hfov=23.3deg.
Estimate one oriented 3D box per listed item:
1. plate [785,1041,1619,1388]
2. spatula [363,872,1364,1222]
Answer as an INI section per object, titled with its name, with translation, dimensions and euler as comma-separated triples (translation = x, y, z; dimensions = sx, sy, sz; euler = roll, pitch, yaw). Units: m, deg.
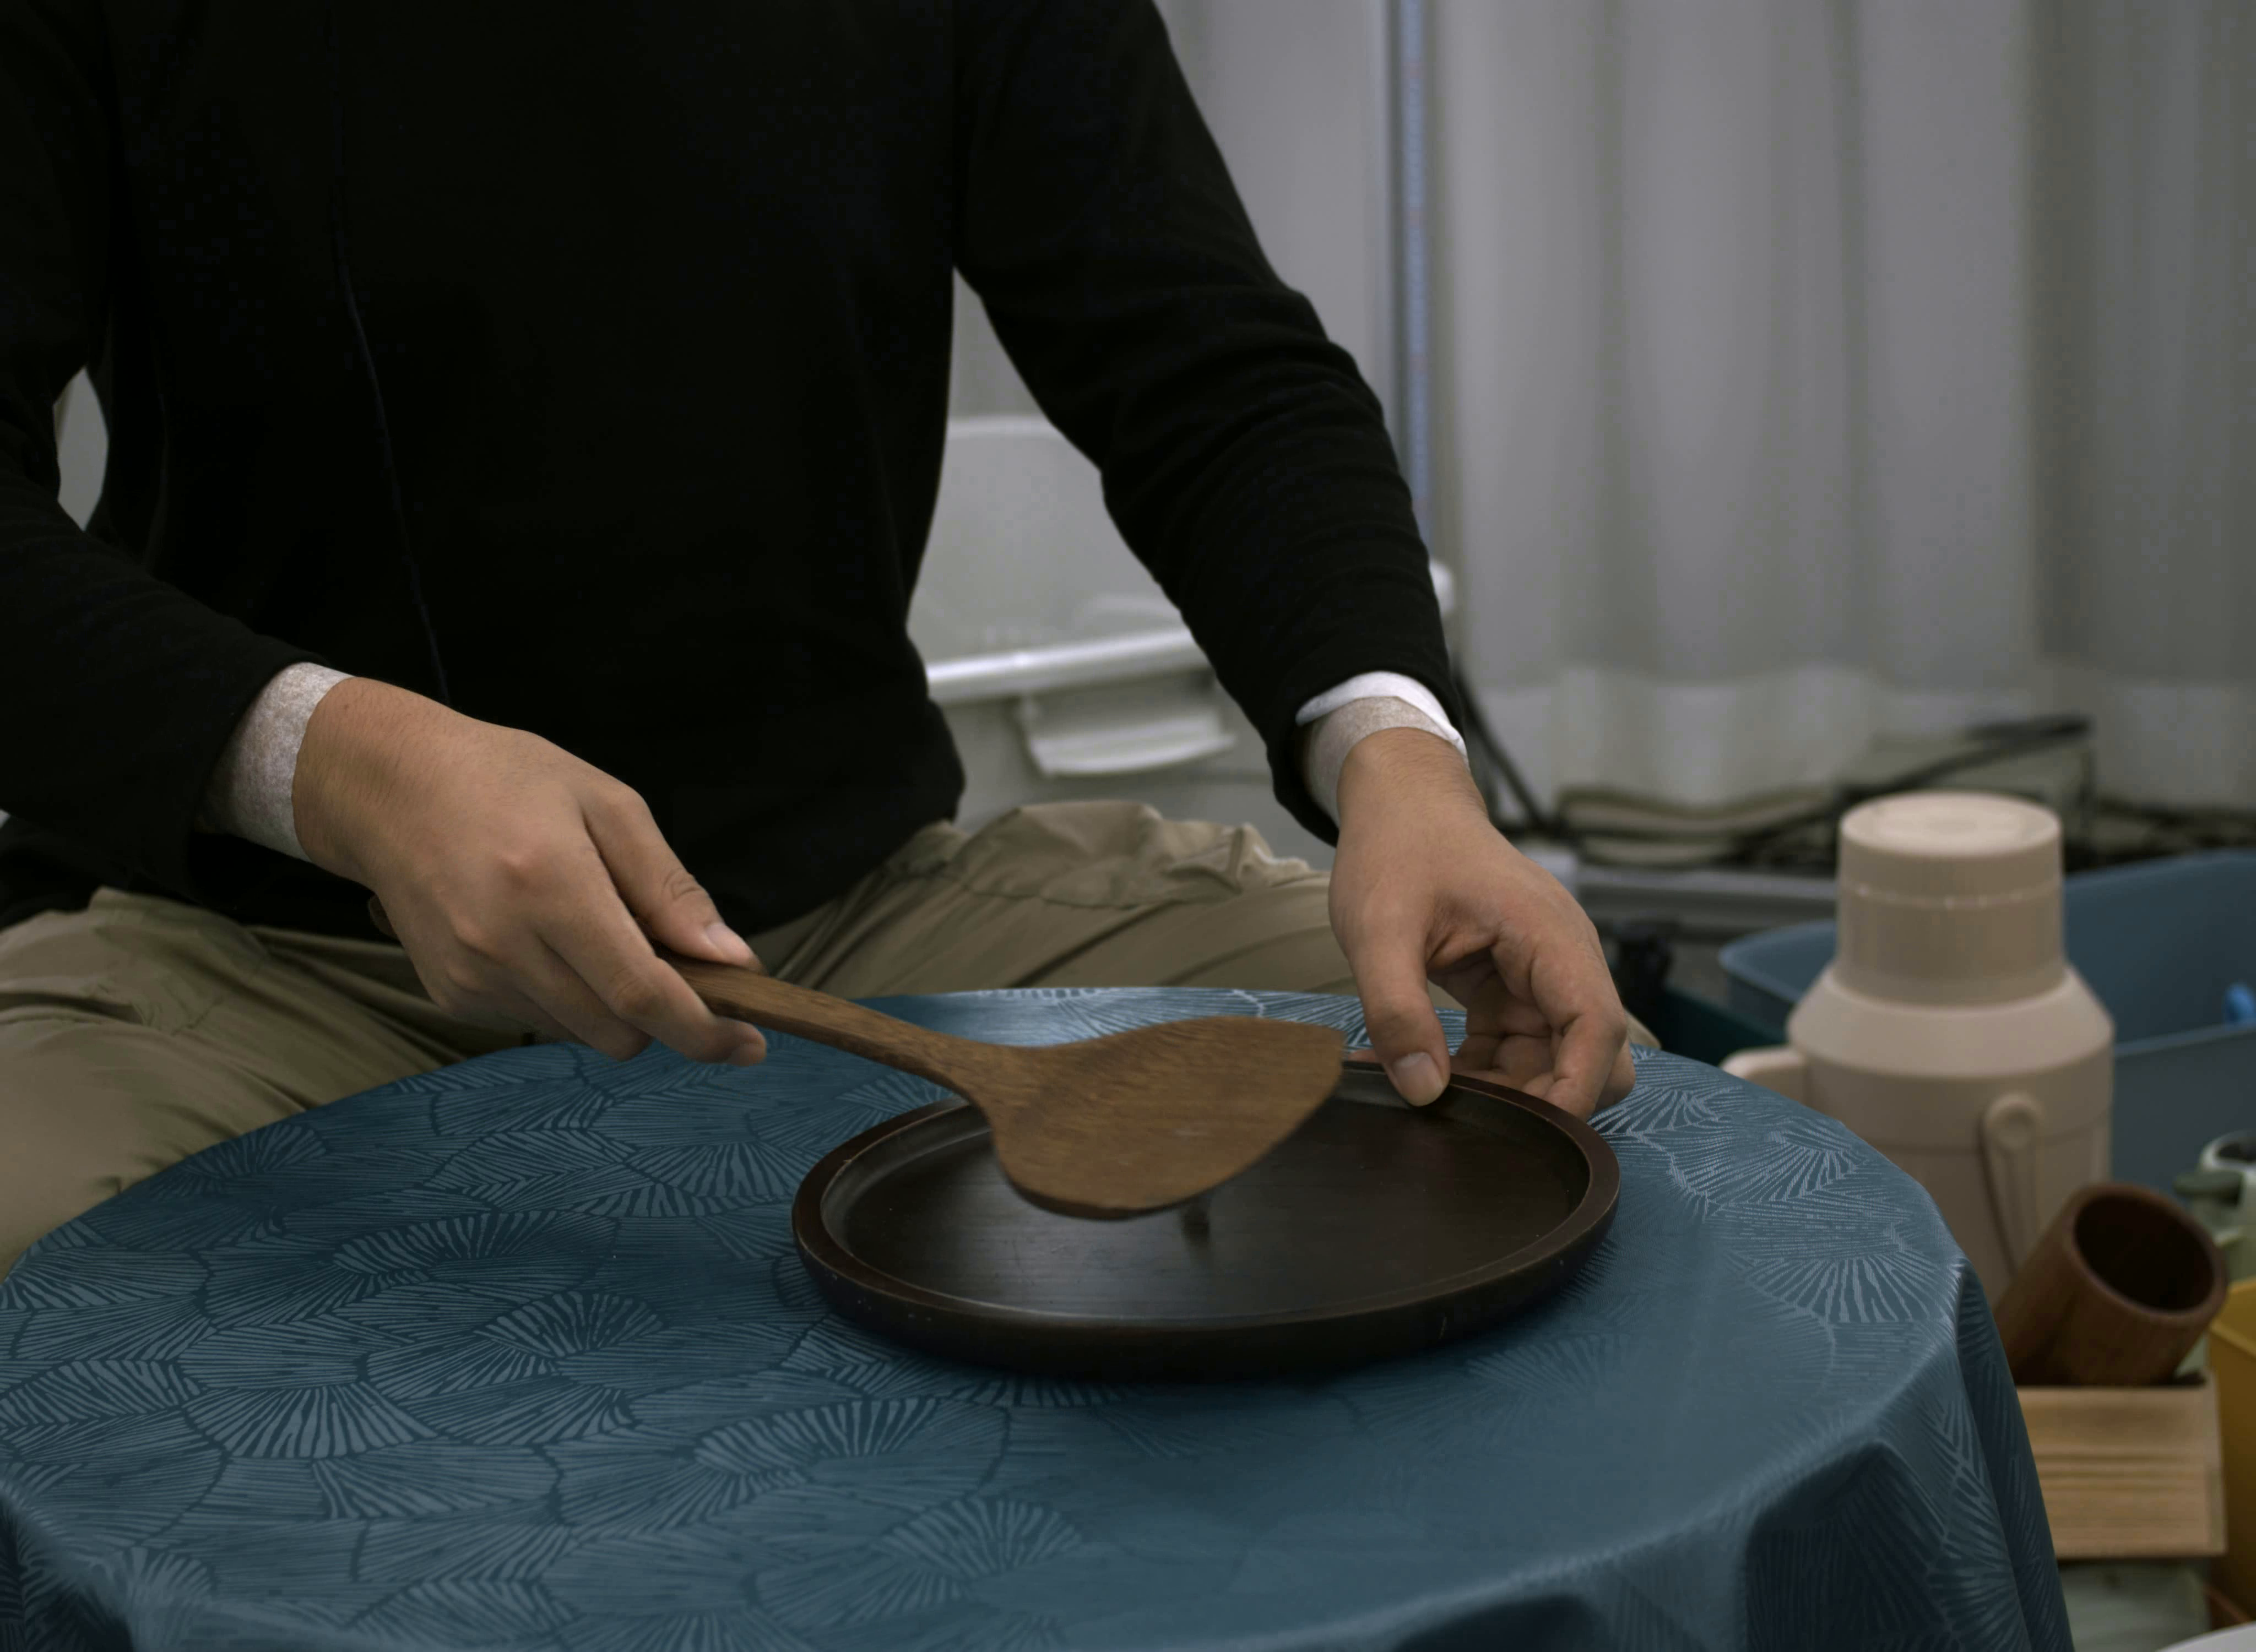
[plate]
translation = 0.023, 0.117, 1.653
dimensions = 0.254, 0.029, 0.256
euler = -4, 15, 1
[spatula]
translation = -0.096, 0.056, 1.619
dimensions = 0.388, 0.015, 0.096
euler = 13, 39, 40
